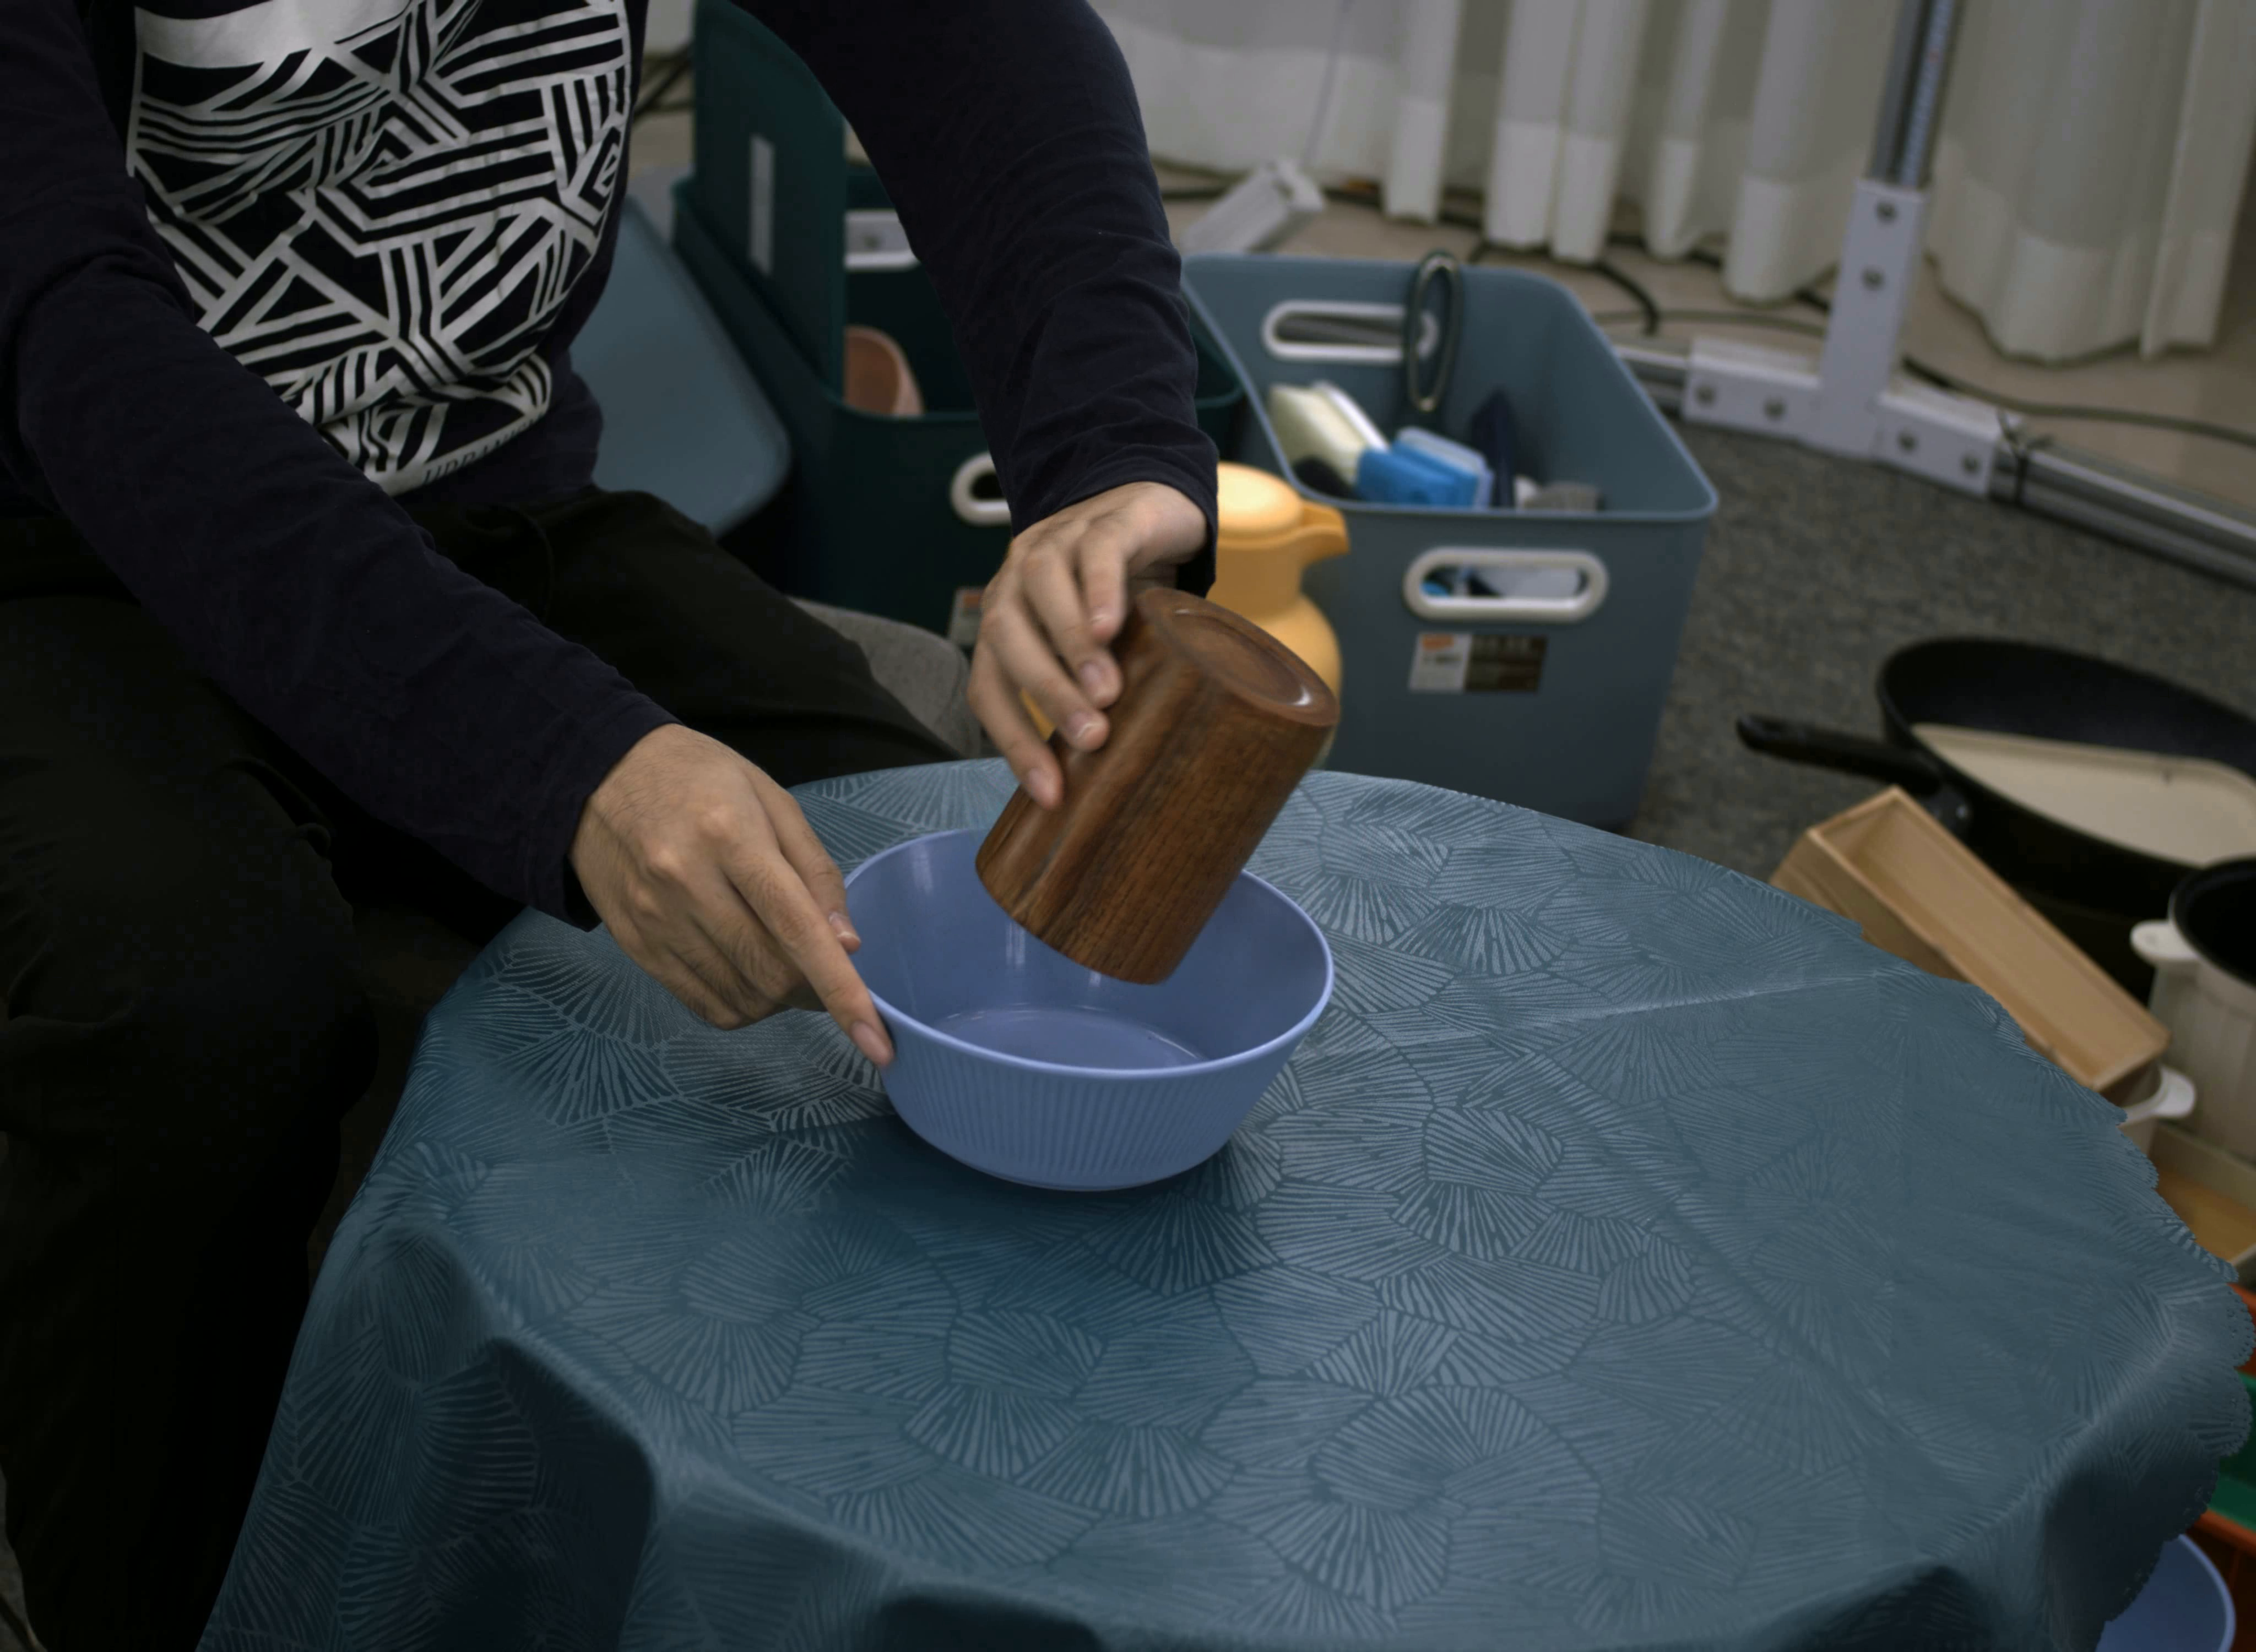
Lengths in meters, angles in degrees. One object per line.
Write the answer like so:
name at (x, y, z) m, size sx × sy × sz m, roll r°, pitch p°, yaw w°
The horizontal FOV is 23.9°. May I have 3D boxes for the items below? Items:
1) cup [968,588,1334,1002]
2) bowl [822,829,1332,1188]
cup at (0.009, -0.010, 1.802) m, size 0.087 × 0.118 × 0.088 m, roll 26°, pitch 22°, yaw -12°
bowl at (-0.020, 0.068, 1.833) m, size 0.175 × 0.070 × 0.177 m, roll 5°, pitch 26°, yaw -3°
